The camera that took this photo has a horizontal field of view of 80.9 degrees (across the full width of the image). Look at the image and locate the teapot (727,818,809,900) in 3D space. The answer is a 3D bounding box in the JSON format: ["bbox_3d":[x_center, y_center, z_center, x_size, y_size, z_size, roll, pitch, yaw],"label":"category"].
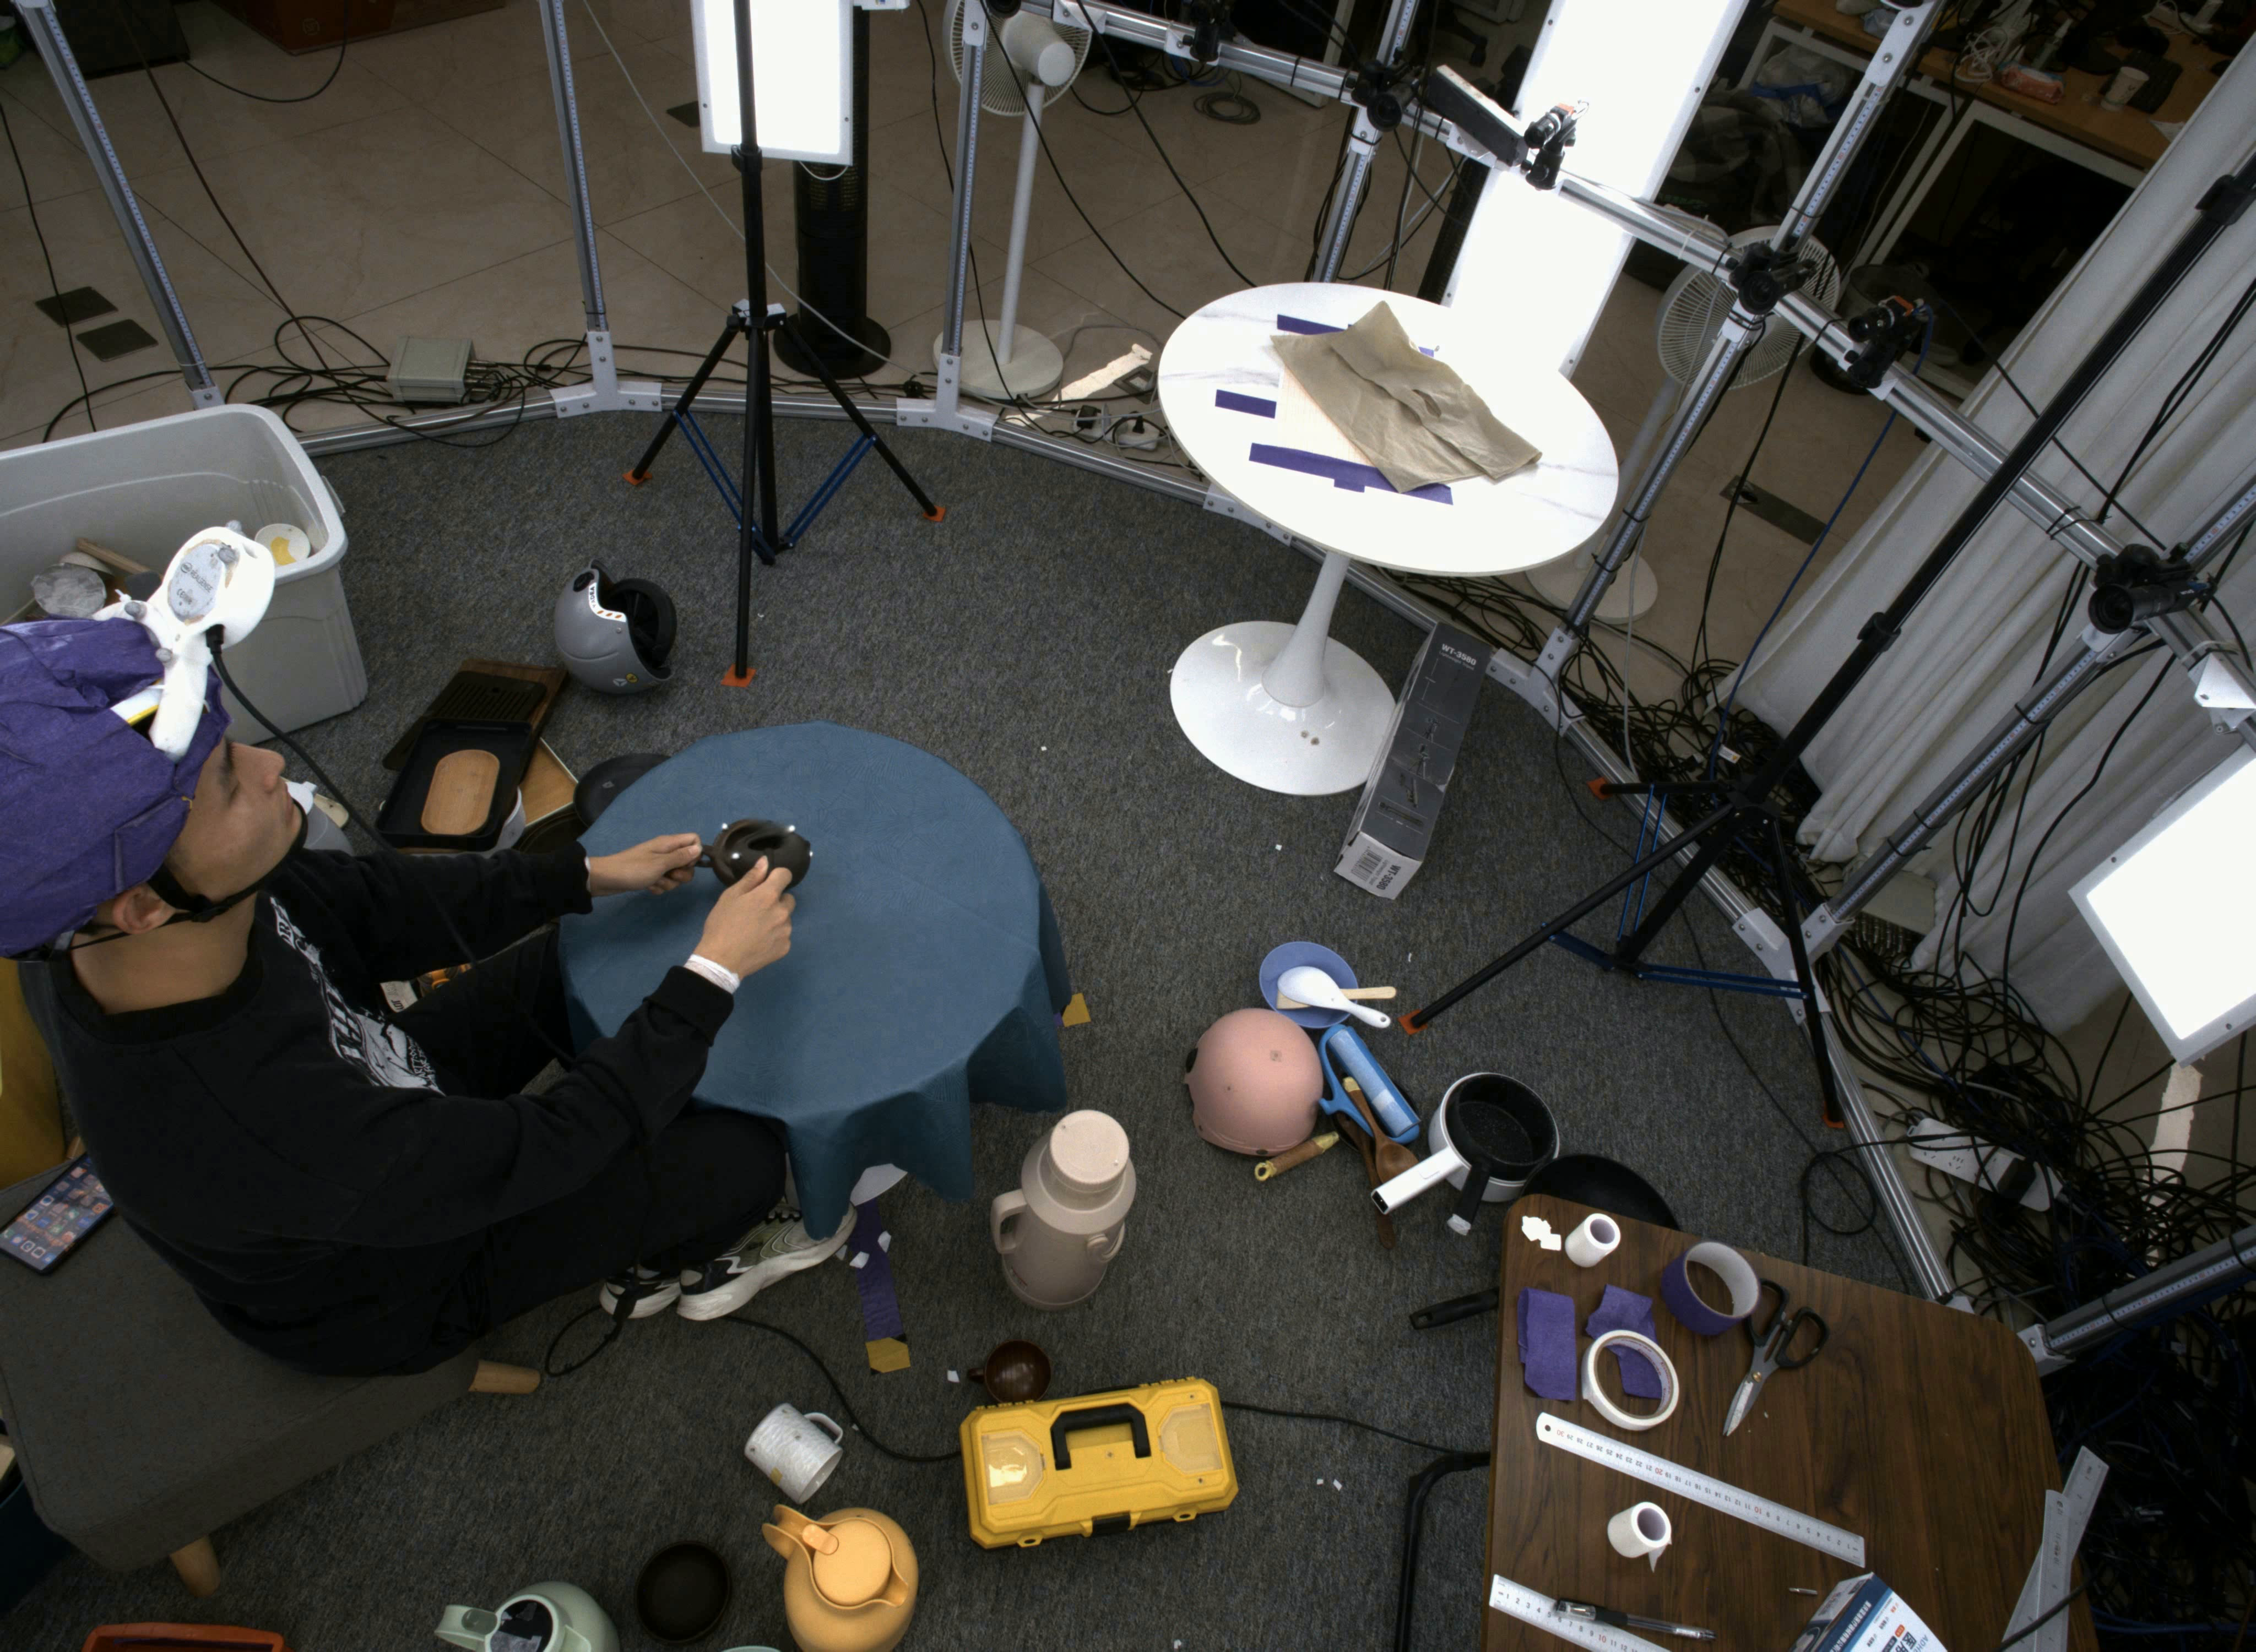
[{"bbox_3d":[-0.413,0.038,1.487,0.092,0.066,0.149,-7,26,-12],"label":"teapot"}]

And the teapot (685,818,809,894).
[{"bbox_3d":[-0.472,0.034,1.607,0.154,0.055,0.100,-6,58,-15],"label":"teapot"}]
